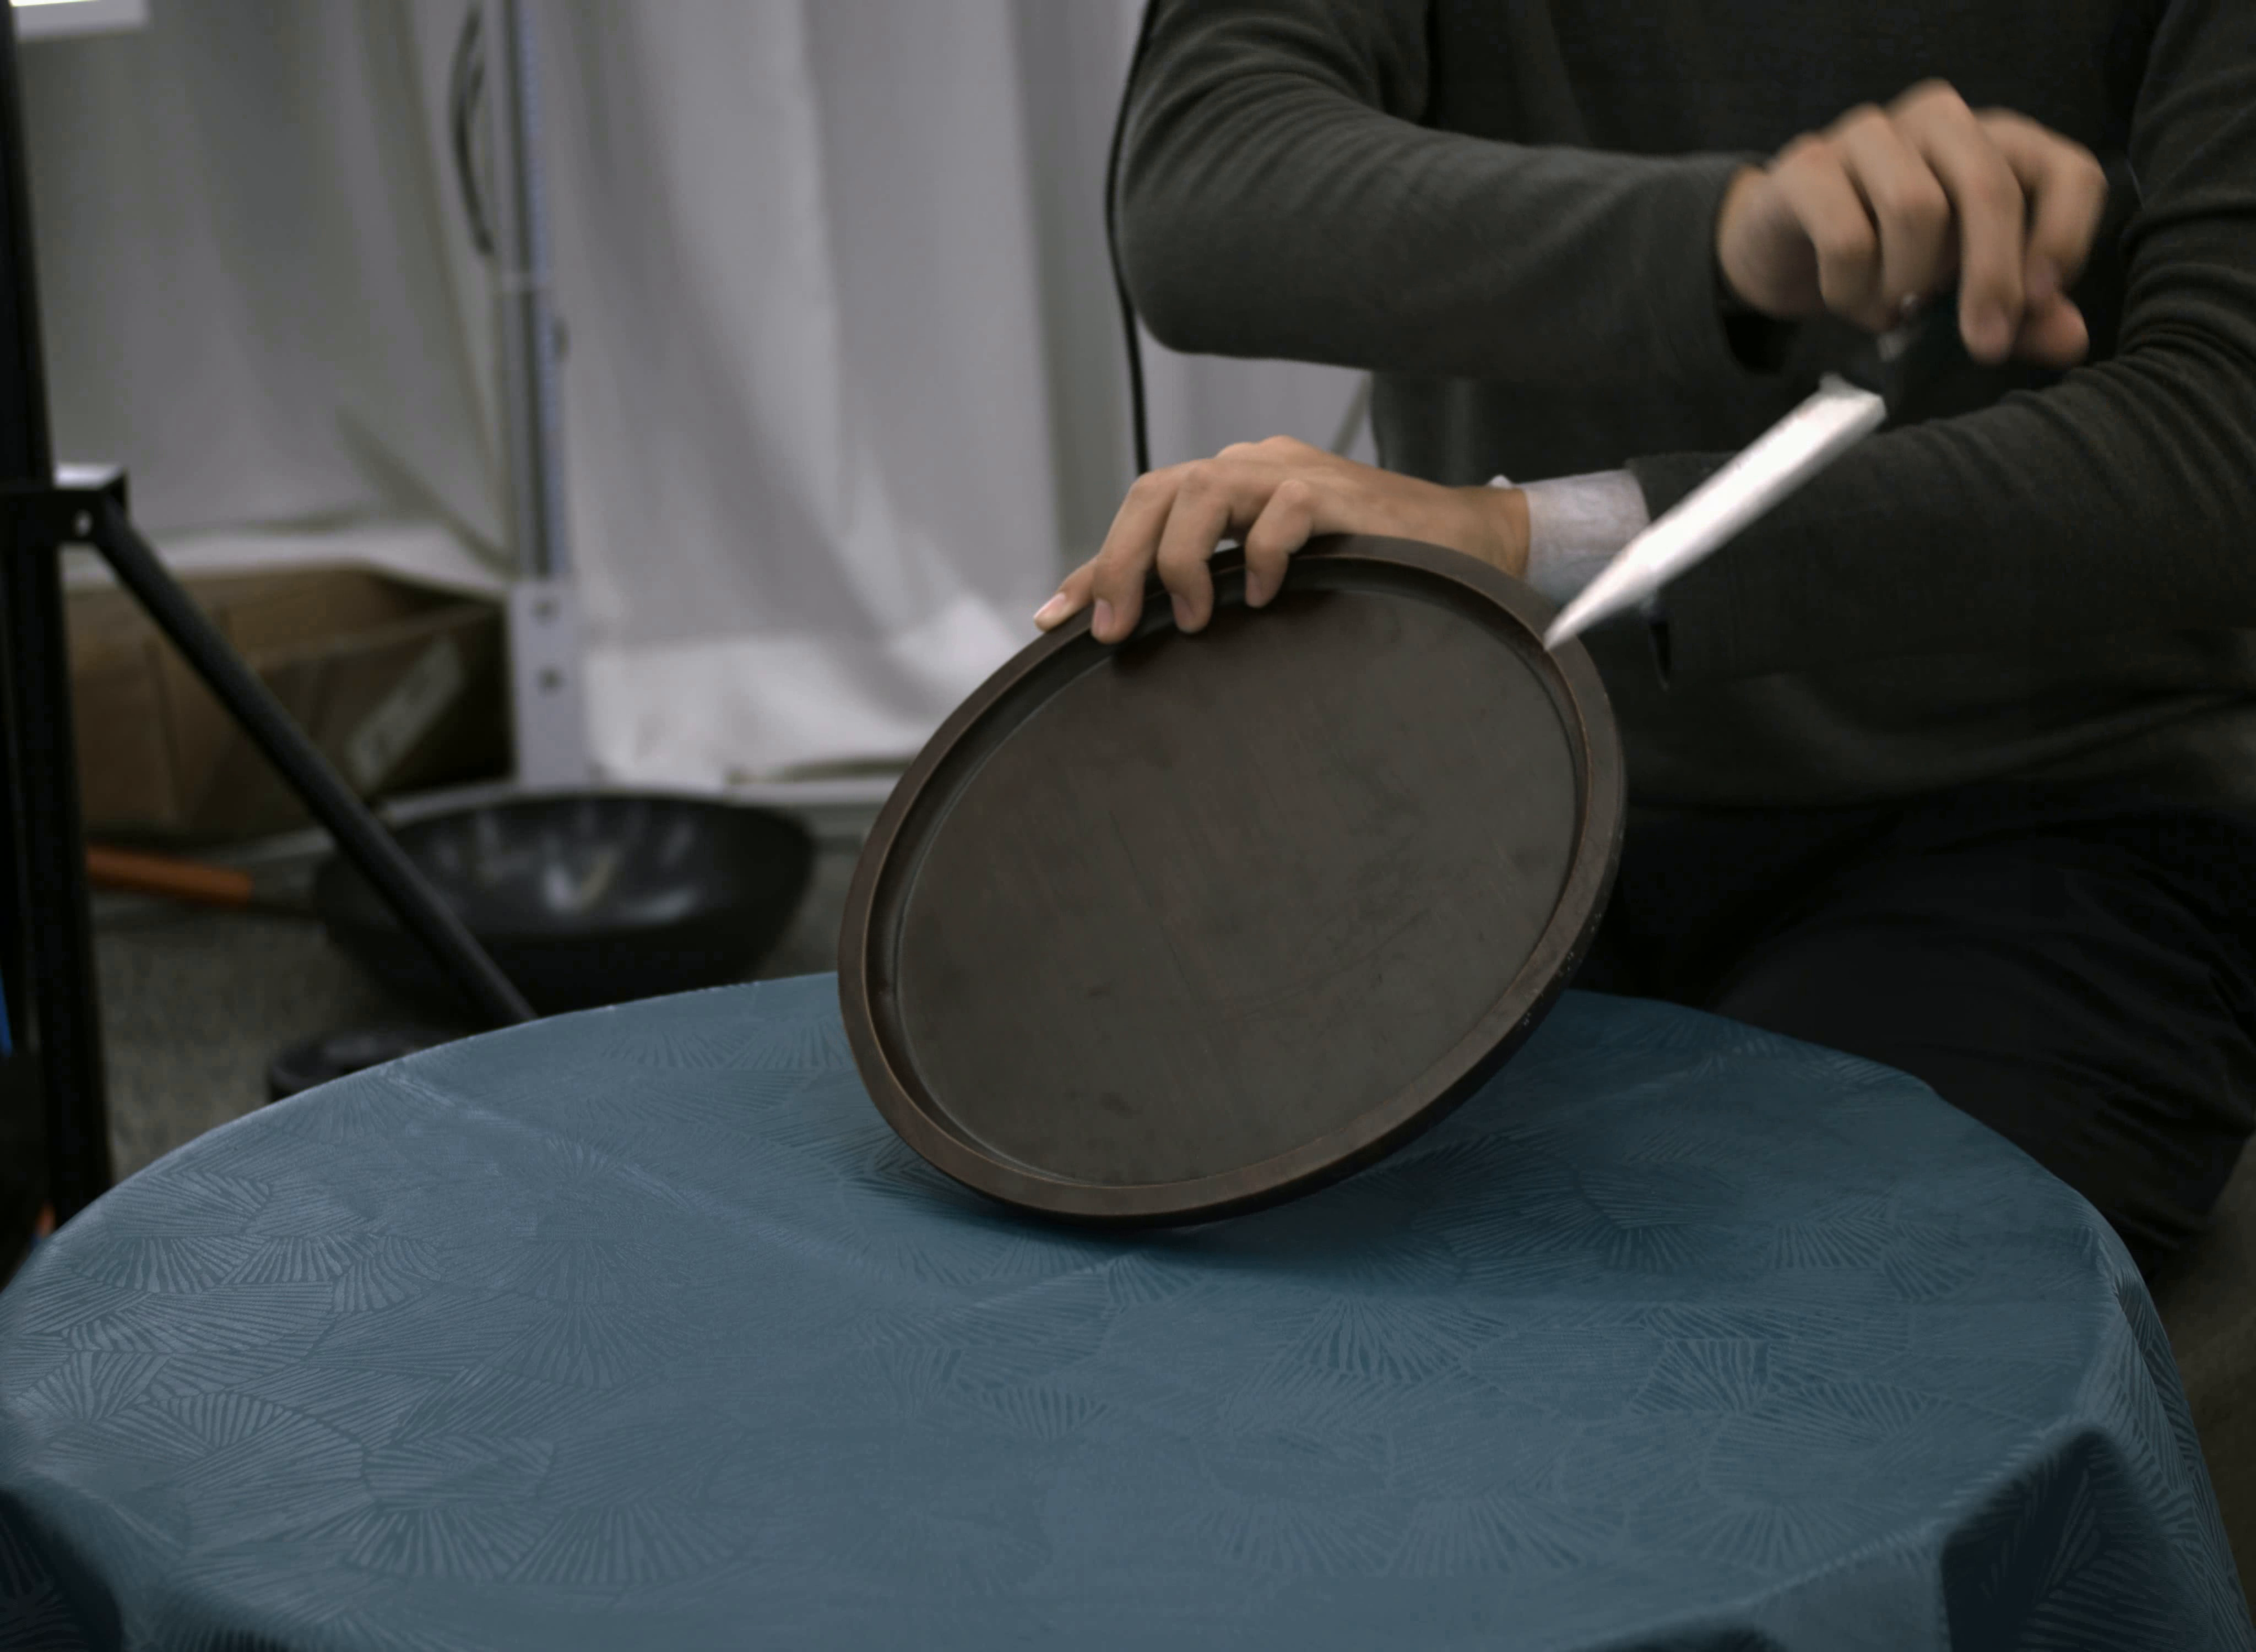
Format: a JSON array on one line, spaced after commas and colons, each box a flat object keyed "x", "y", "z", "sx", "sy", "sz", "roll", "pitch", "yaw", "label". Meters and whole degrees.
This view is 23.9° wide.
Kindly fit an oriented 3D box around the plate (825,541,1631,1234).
[{"x": 0.031, "y": 0.017, "z": 1.589, "sx": 0.256, "sy": 0.028, "sz": 0.258, "roll": -16, "pitch": 47, "yaw": 16, "label": "plate"}]

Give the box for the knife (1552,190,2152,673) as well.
[{"x": 0.211, "y": -0.115, "z": 1.550, "sx": 0.236, "sy": 0.016, "sz": 0.025, "roll": -38, "pitch": 40, "yaw": -14, "label": "knife"}]
